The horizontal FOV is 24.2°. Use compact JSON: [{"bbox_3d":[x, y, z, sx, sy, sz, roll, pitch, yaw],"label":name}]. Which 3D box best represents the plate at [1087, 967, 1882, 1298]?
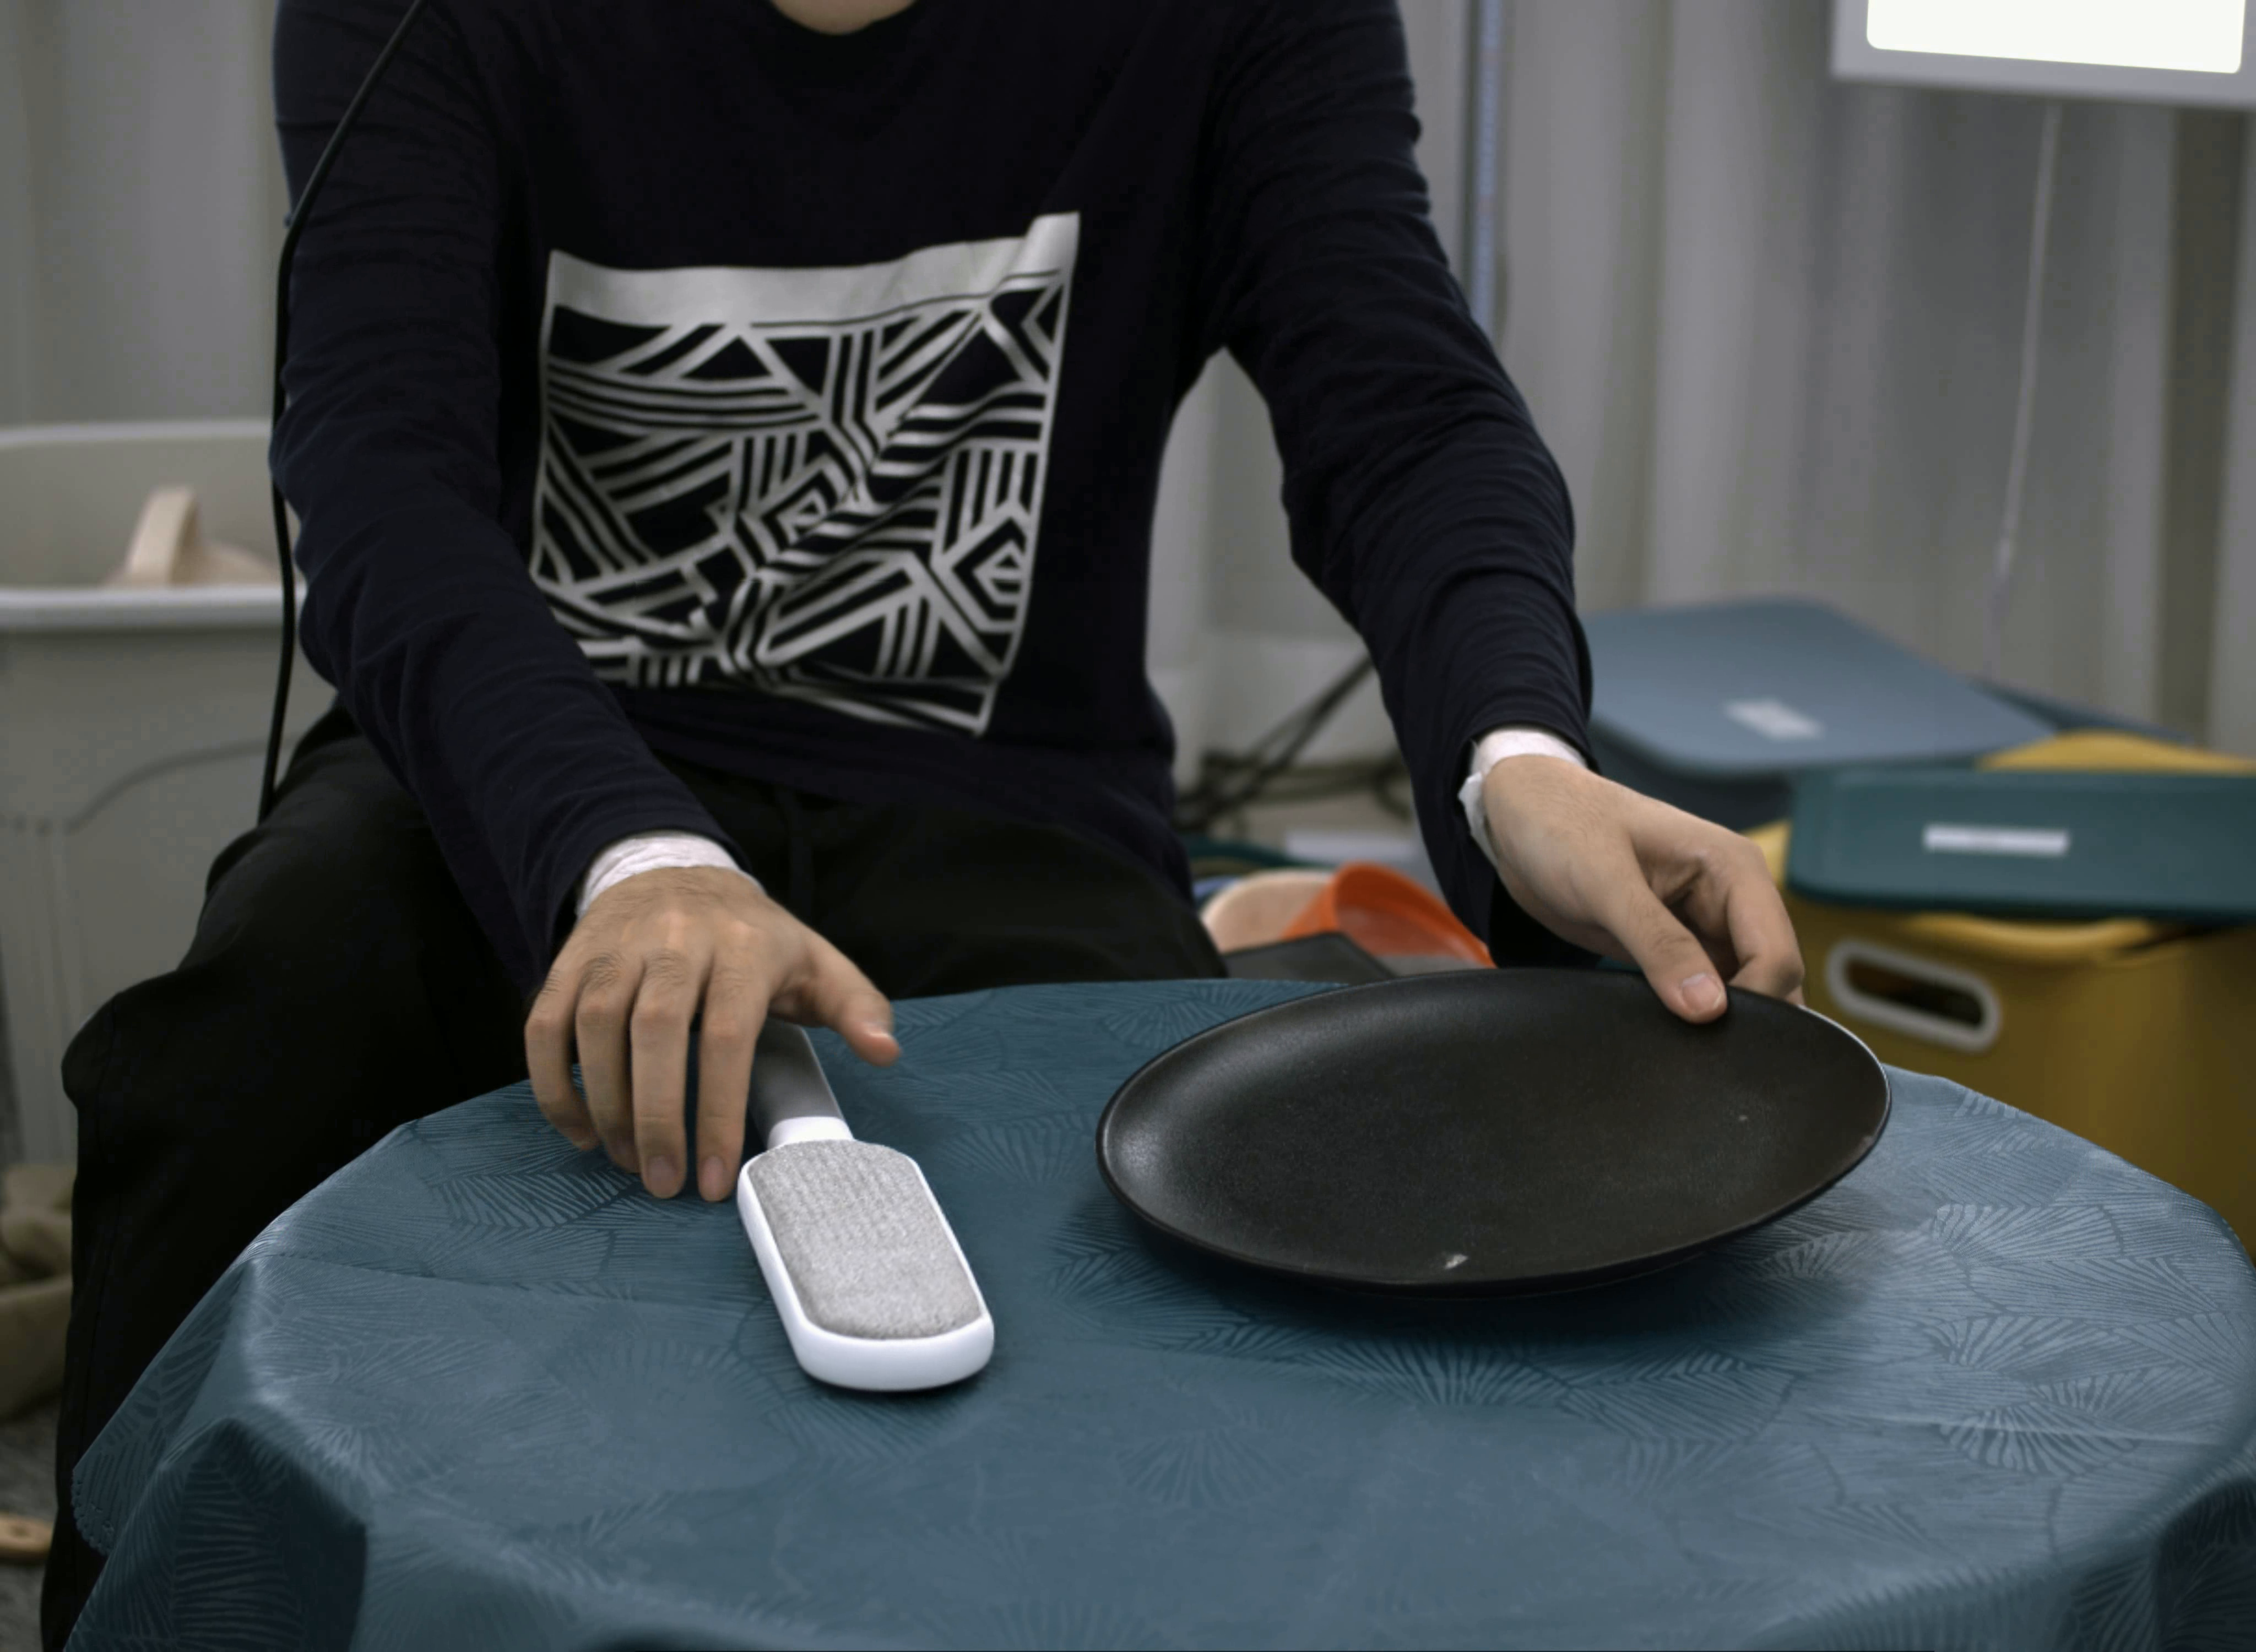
[{"bbox_3d":[0.108,0.097,1.607,0.243,0.023,0.243,-4,19,2],"label":"plate"}]

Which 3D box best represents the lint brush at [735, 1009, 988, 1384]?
[{"bbox_3d":[-0.089,0.107,1.590,0.060,0.021,0.306,-8,16,-9],"label":"lint brush"}]
